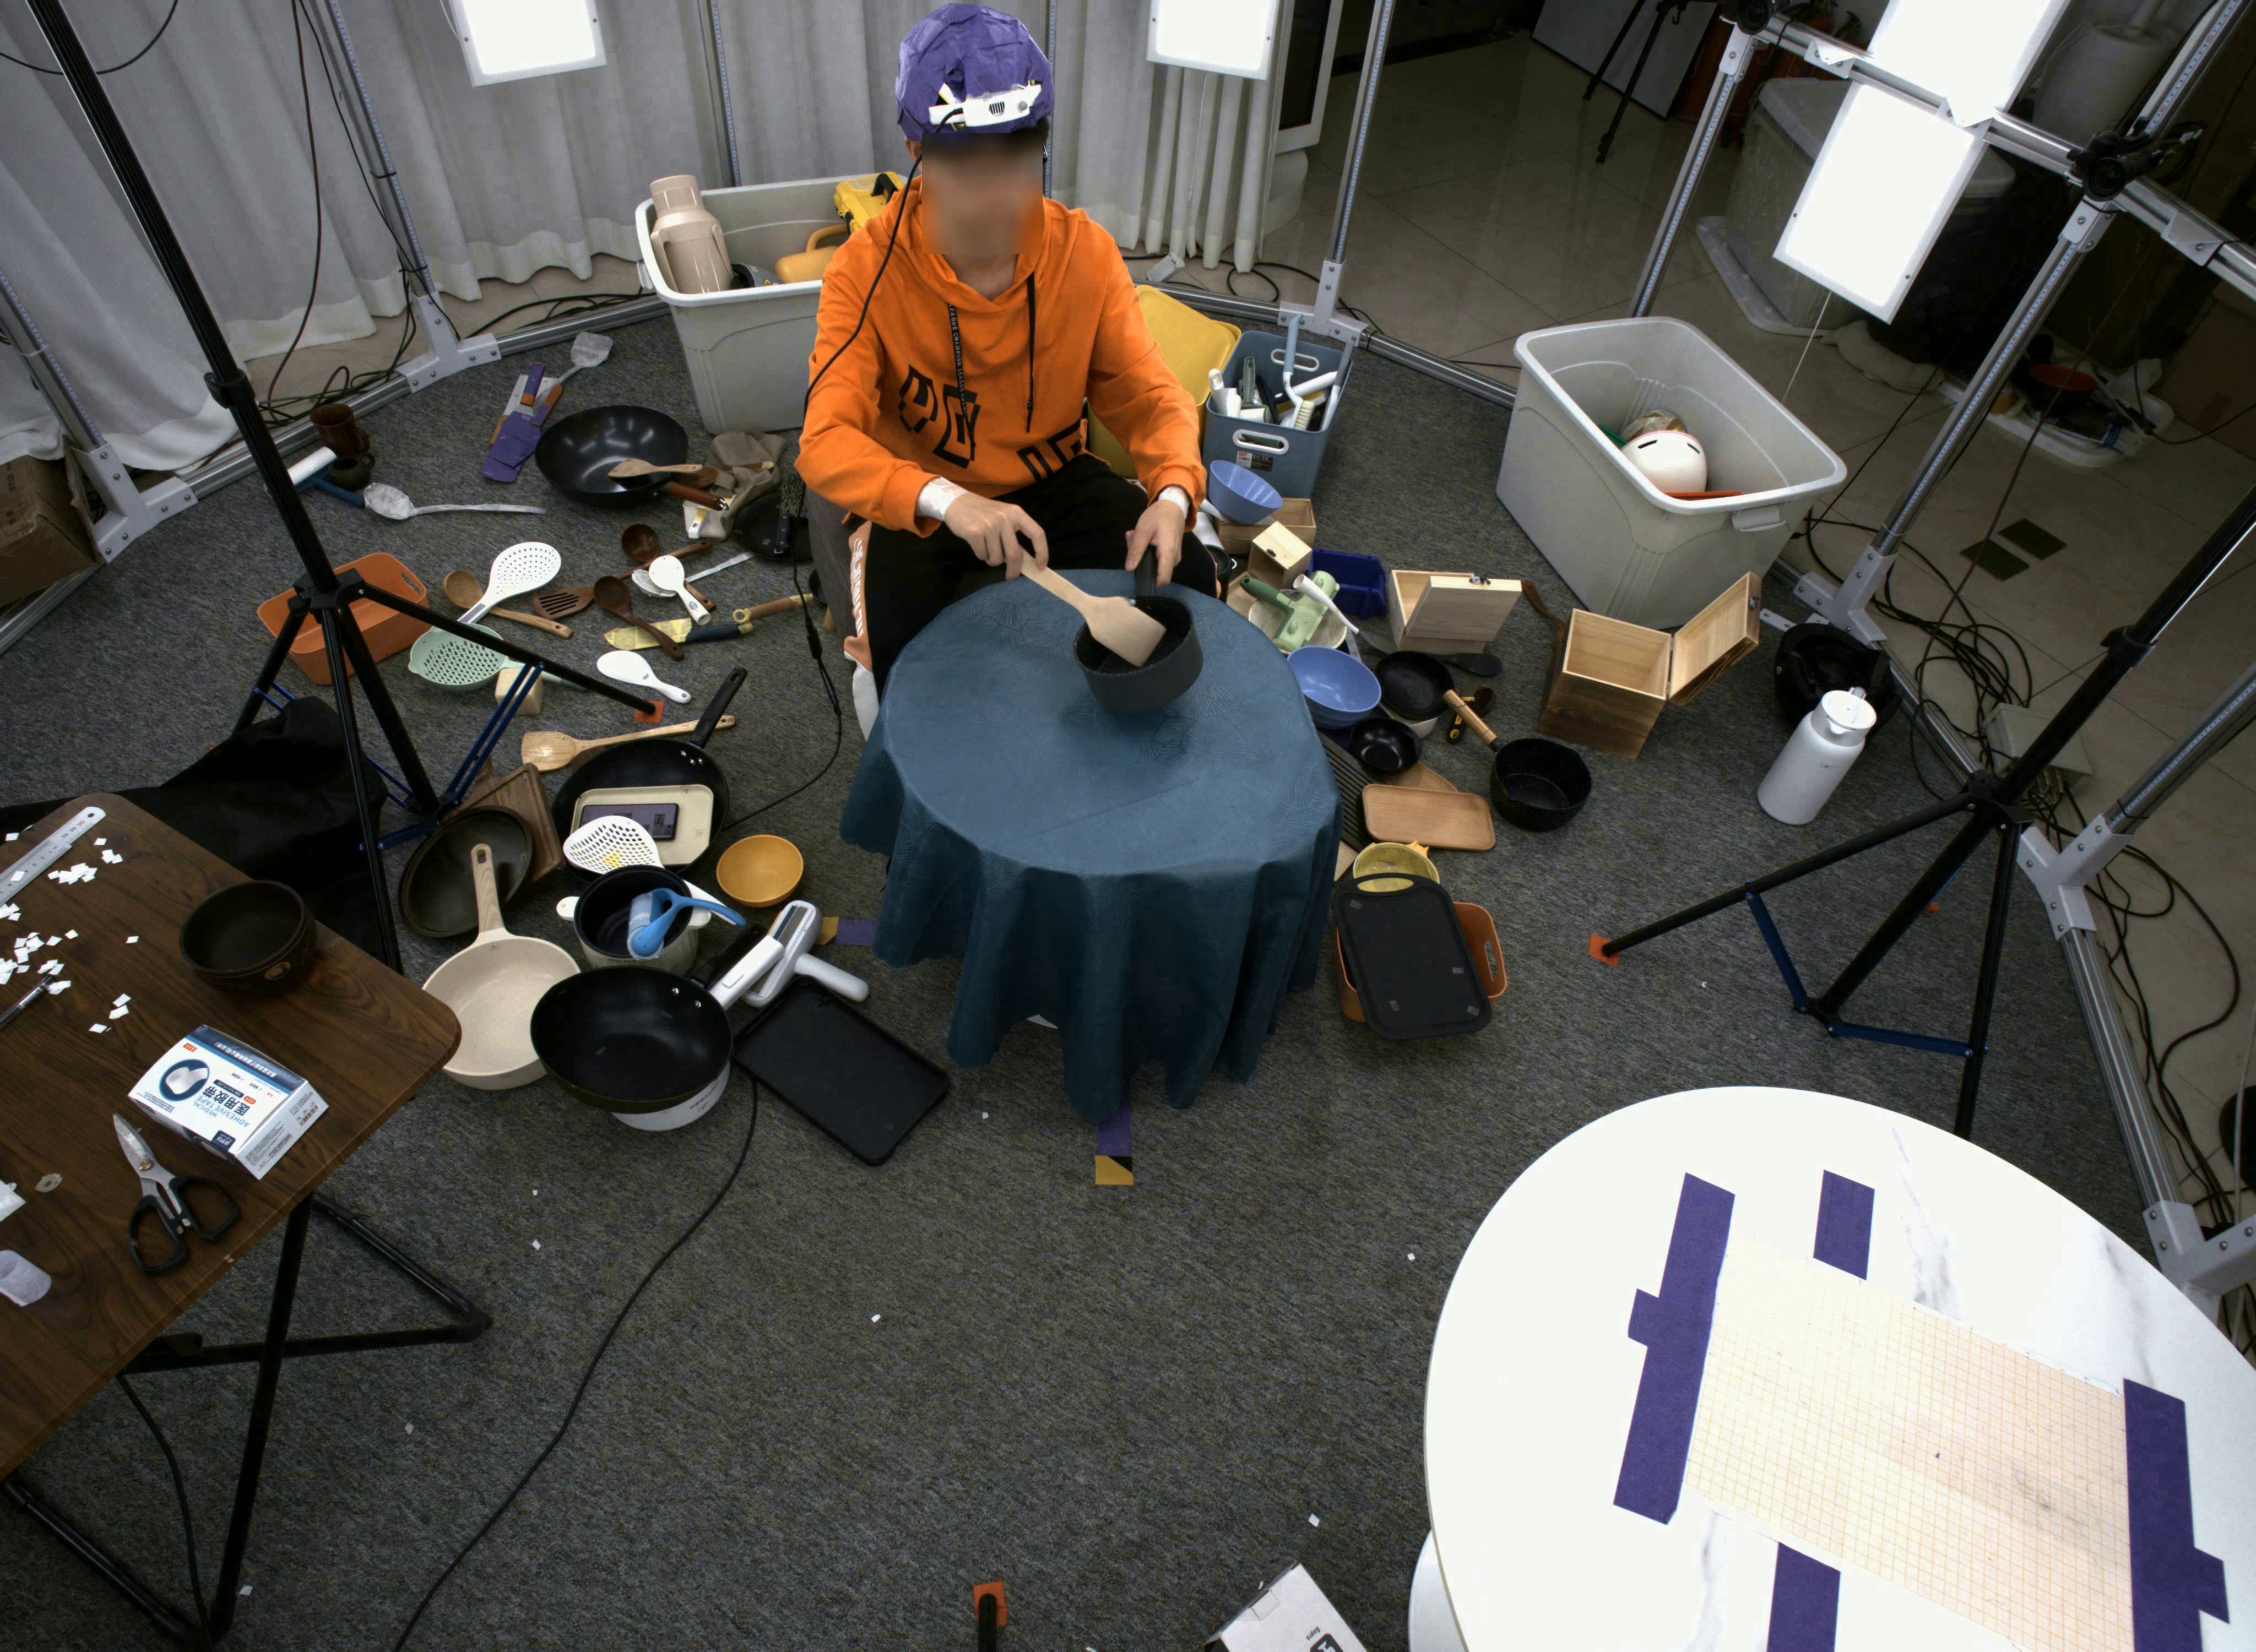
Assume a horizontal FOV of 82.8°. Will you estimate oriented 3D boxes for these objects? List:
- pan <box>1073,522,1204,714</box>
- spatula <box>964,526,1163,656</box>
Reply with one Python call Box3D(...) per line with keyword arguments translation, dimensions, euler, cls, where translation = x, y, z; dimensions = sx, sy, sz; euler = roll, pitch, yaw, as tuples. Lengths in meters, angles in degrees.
Box3D(translation=(0.027, -0.297, 1.818), dimensions=(0.172, 0.084, 0.336), euler=(-5, 47, 18), cls="pan")
Box3D(translation=(-0.093, -0.332, 1.769), dimensions=(0.292, 0.071, 0.011), euler=(29, 25, -3), cls="spatula")
